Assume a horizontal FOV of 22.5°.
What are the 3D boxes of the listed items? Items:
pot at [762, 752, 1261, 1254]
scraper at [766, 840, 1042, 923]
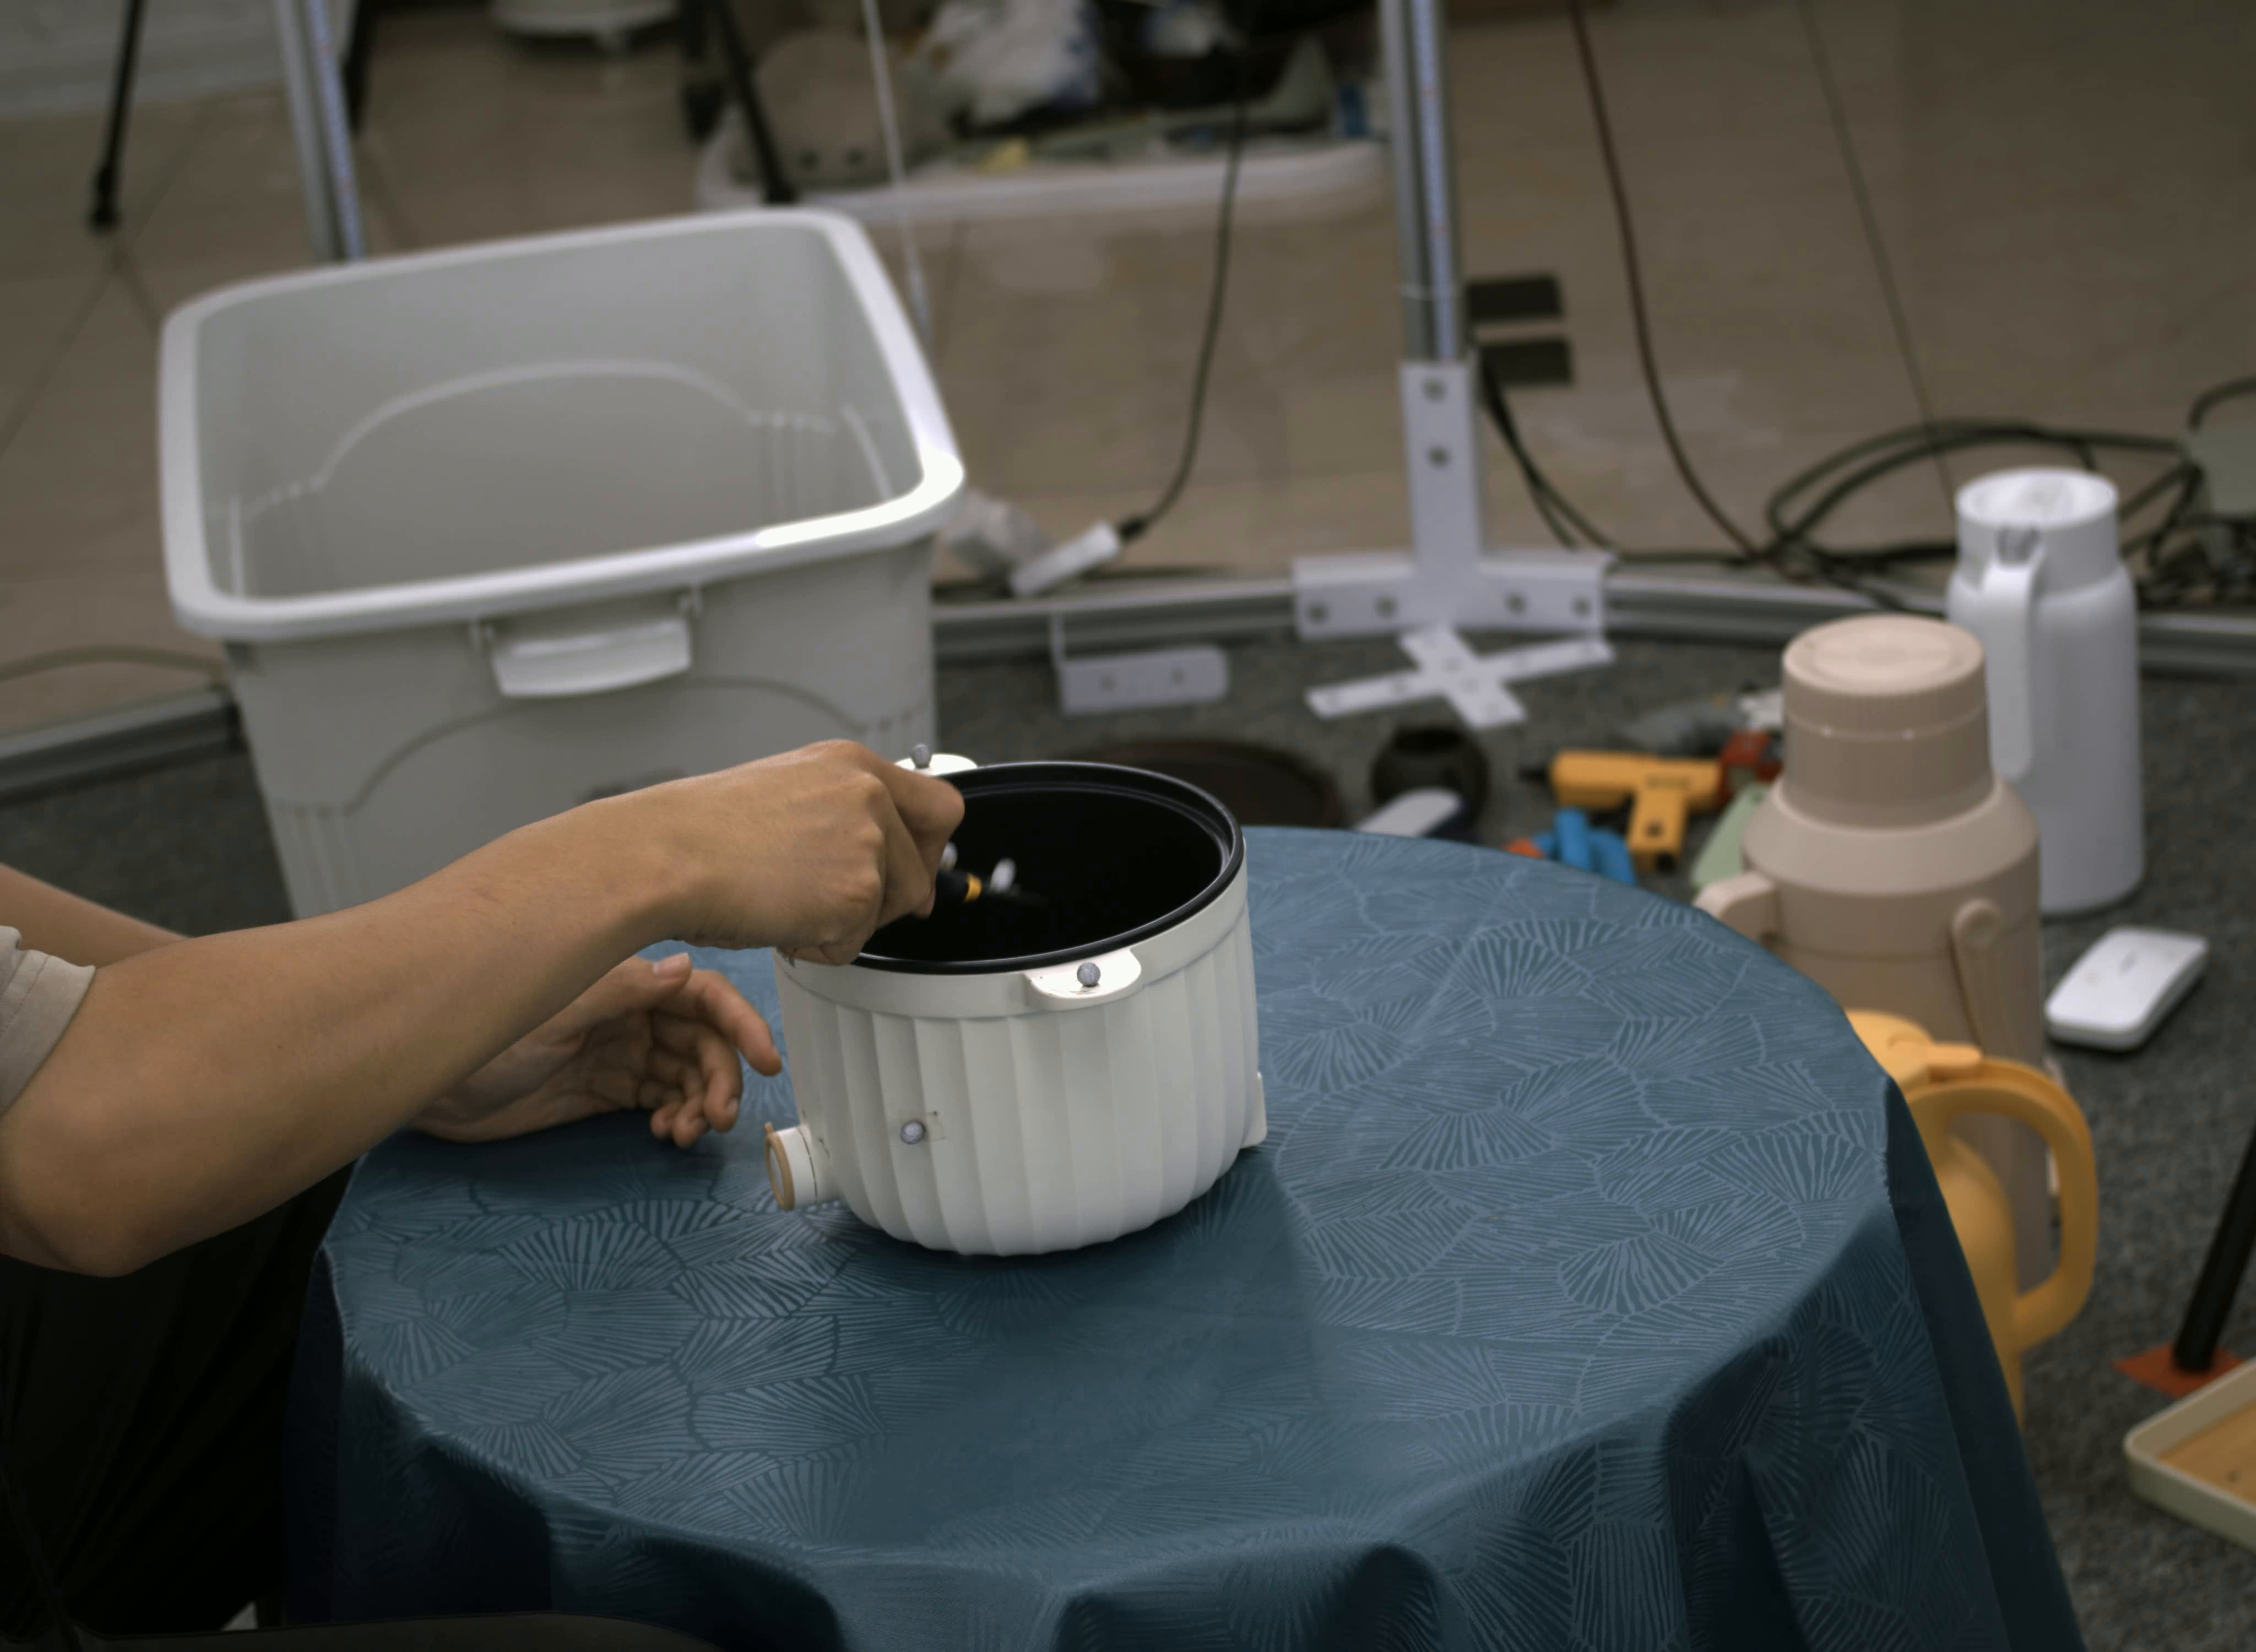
[{"bbox_3d":[-0.045,0.074,2.135,0.190,0.145,0.237,-9,24,-17],"label":"pot"},{"bbox_3d":[-0.082,0.022,2.057,0.038,0.015,0.171,26,6,25],"label":"scraper"}]
